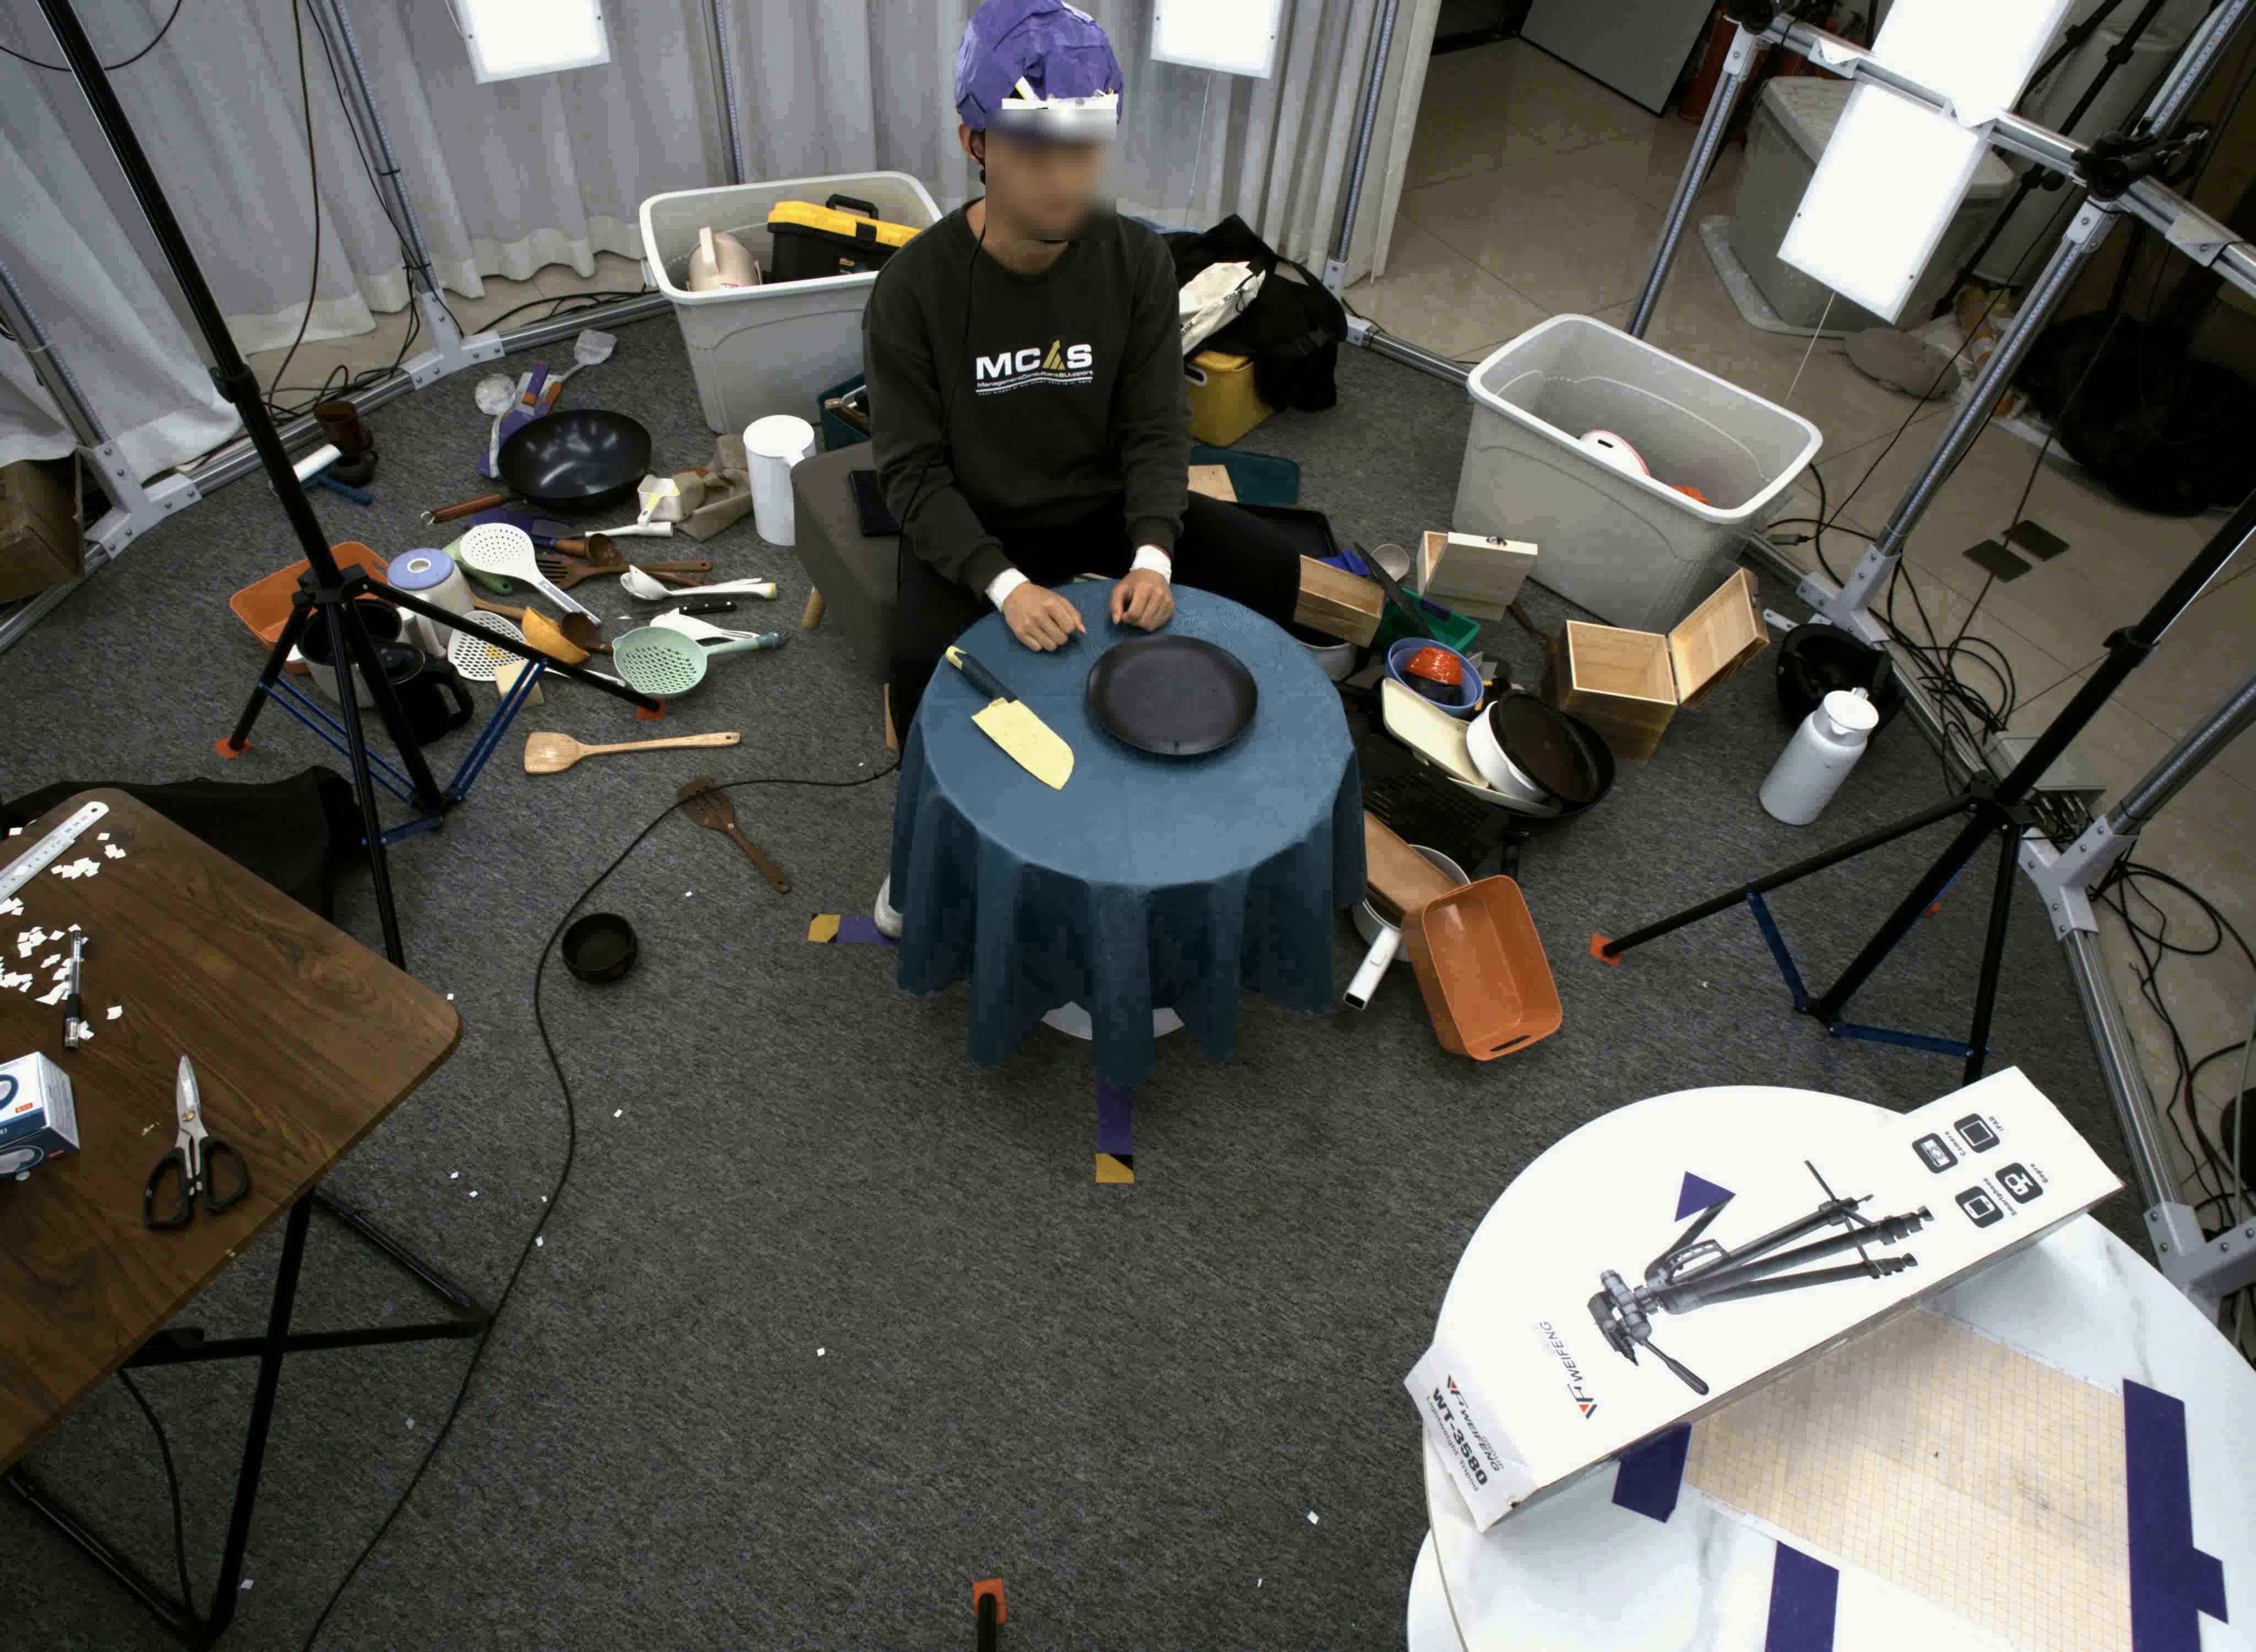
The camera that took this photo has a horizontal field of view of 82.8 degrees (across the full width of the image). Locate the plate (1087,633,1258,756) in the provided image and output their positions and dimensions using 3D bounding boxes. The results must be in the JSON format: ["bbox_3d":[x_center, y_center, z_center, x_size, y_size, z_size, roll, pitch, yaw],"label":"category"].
[{"bbox_3d":[0.062,-0.184,1.816,0.244,0.023,0.250,2,49,-2],"label":"plate"}]

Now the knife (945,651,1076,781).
[{"bbox_3d":[-0.172,-0.152,1.778,0.081,0.026,0.294,-29,58,-28],"label":"knife"}]
